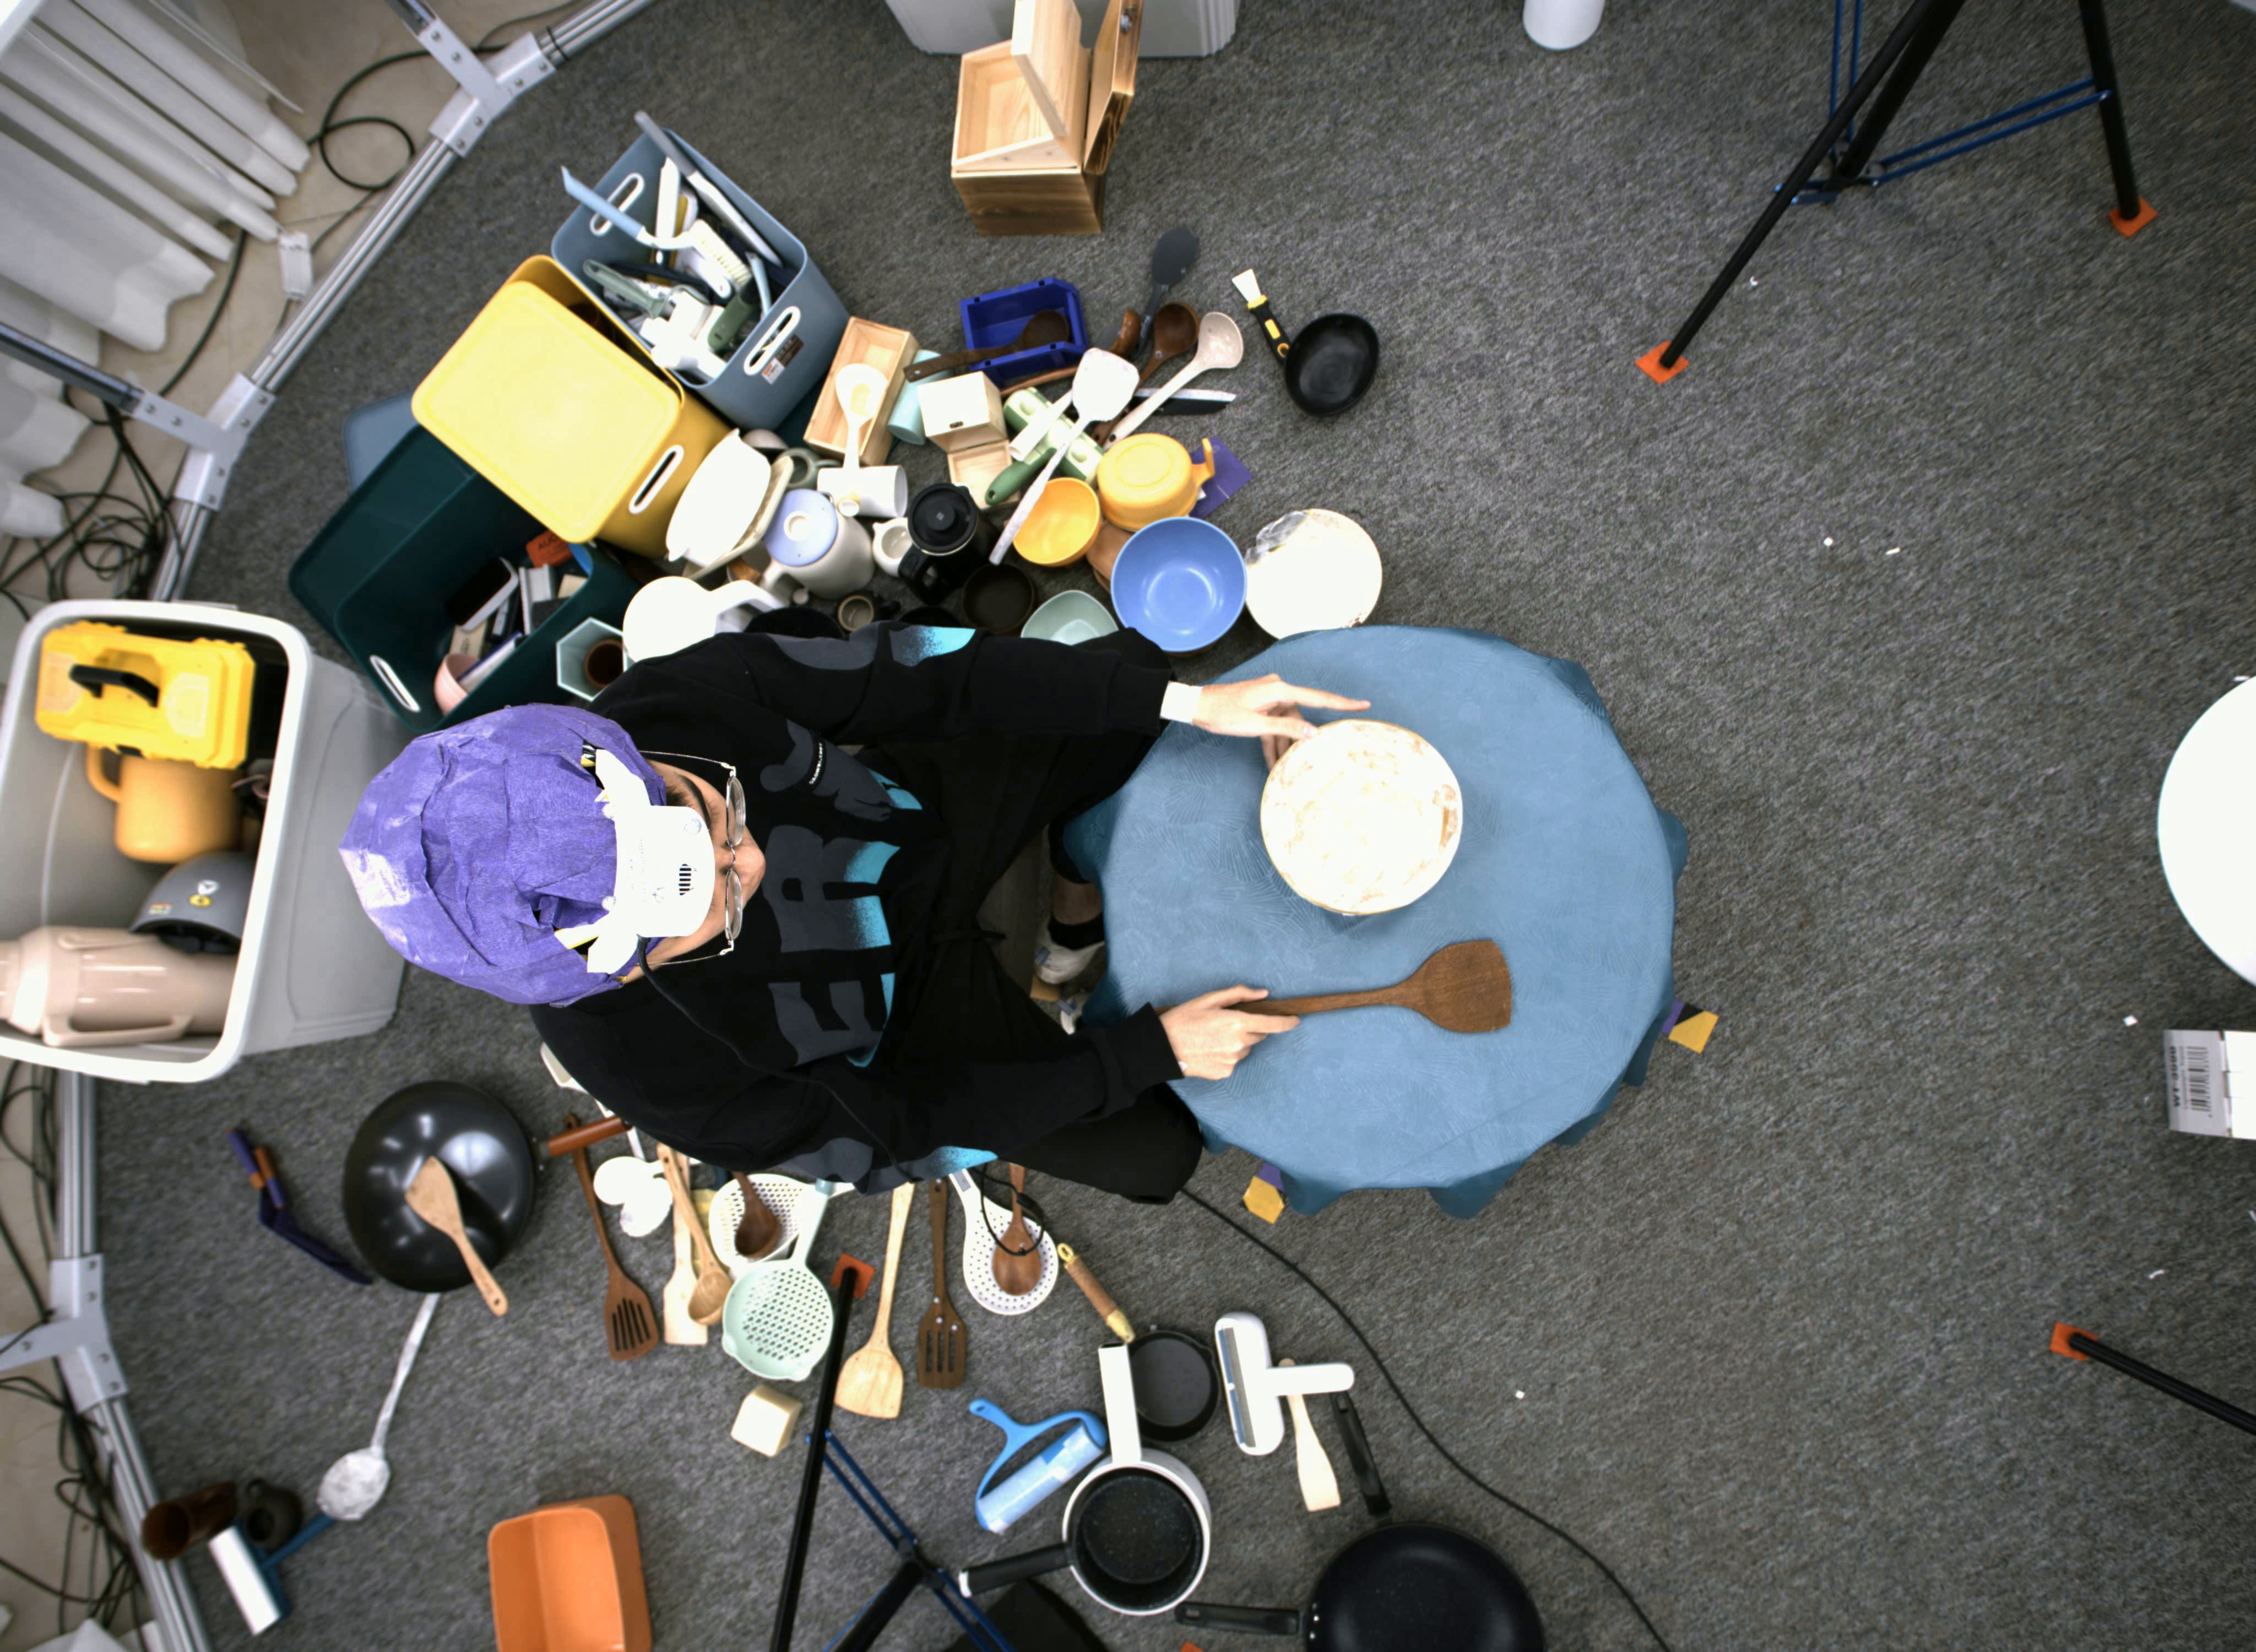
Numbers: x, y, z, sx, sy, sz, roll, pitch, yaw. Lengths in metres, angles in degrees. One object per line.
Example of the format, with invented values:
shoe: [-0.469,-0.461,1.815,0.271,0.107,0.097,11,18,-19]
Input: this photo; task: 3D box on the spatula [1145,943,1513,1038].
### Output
spatula: [0.209,0.188,1.456,0.387,0.016,0.095,-7,84,7]

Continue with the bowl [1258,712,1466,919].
bowl: [0.242,-0.007,1.427,0.215,0.095,0.213,-1,85,12]
